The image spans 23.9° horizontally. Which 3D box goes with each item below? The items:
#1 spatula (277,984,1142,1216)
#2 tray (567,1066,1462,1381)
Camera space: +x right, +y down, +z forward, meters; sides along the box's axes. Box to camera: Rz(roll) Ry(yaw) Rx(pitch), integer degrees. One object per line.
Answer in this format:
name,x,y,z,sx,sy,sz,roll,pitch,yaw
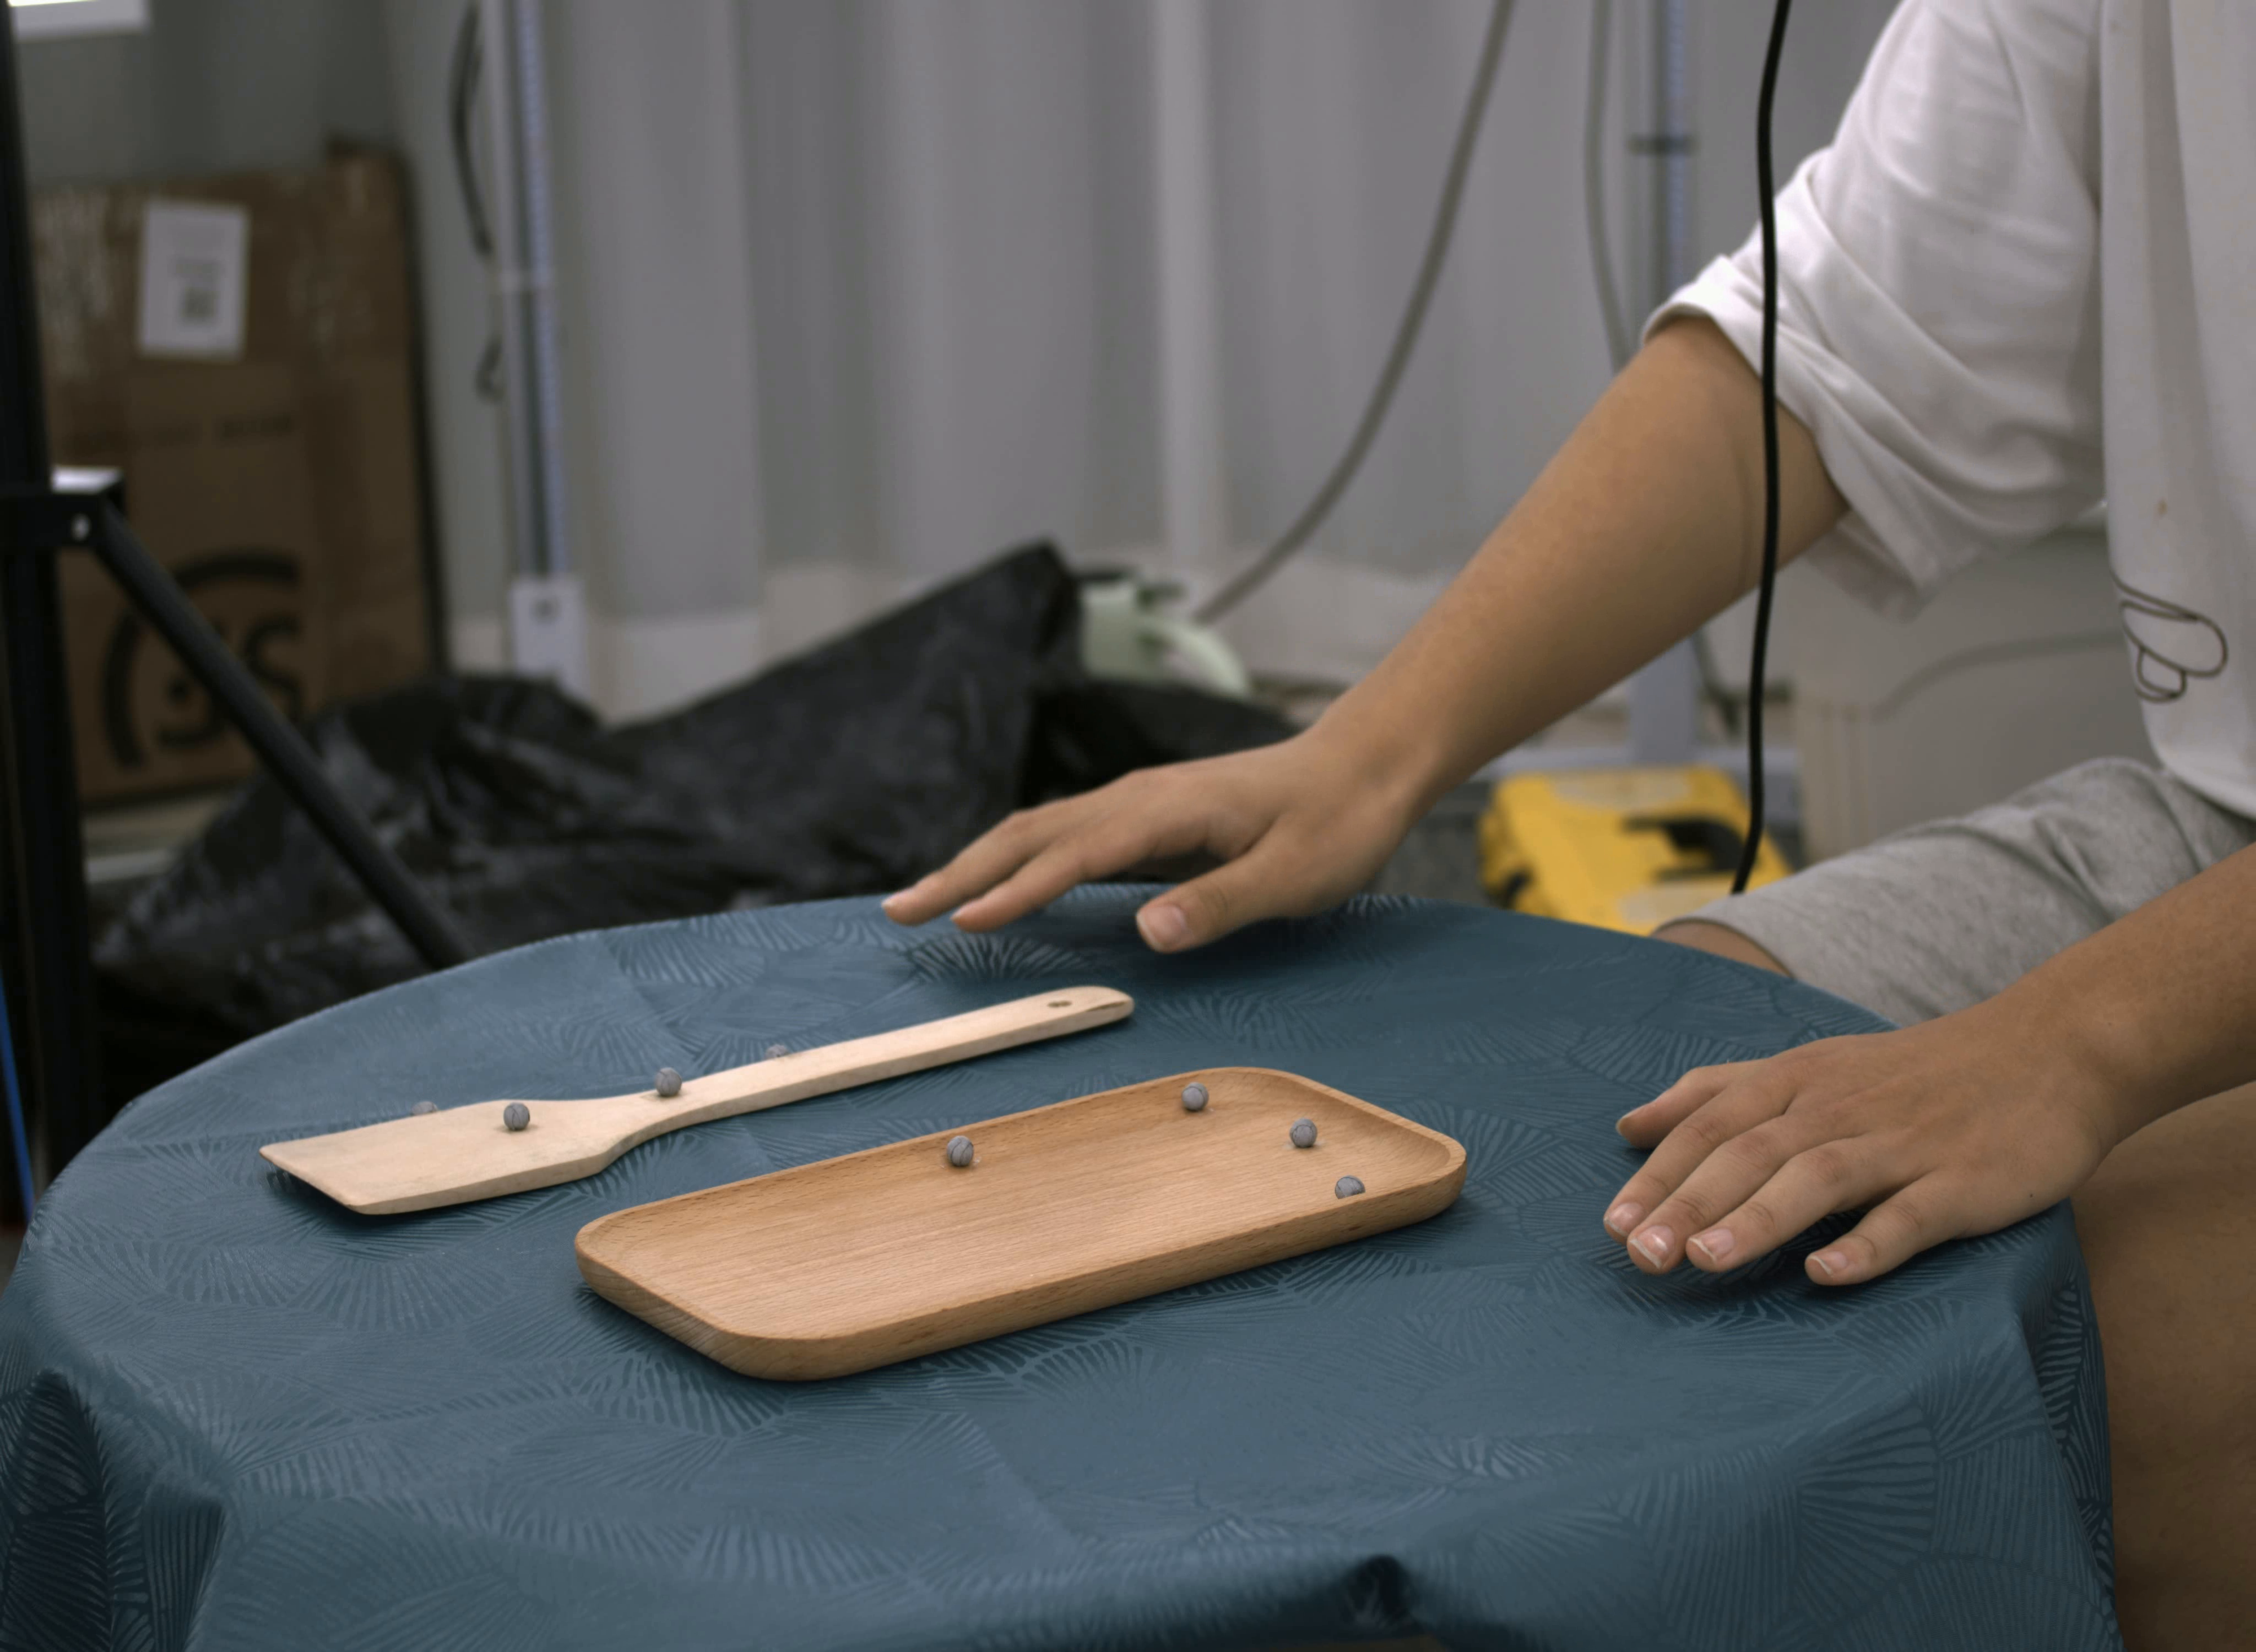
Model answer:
spatula,-0.120,0.082,1.654,0.286,0.010,0.074,-12,17,-30
tray,-0.030,0.112,1.521,0.245,0.023,0.133,-12,16,-30
